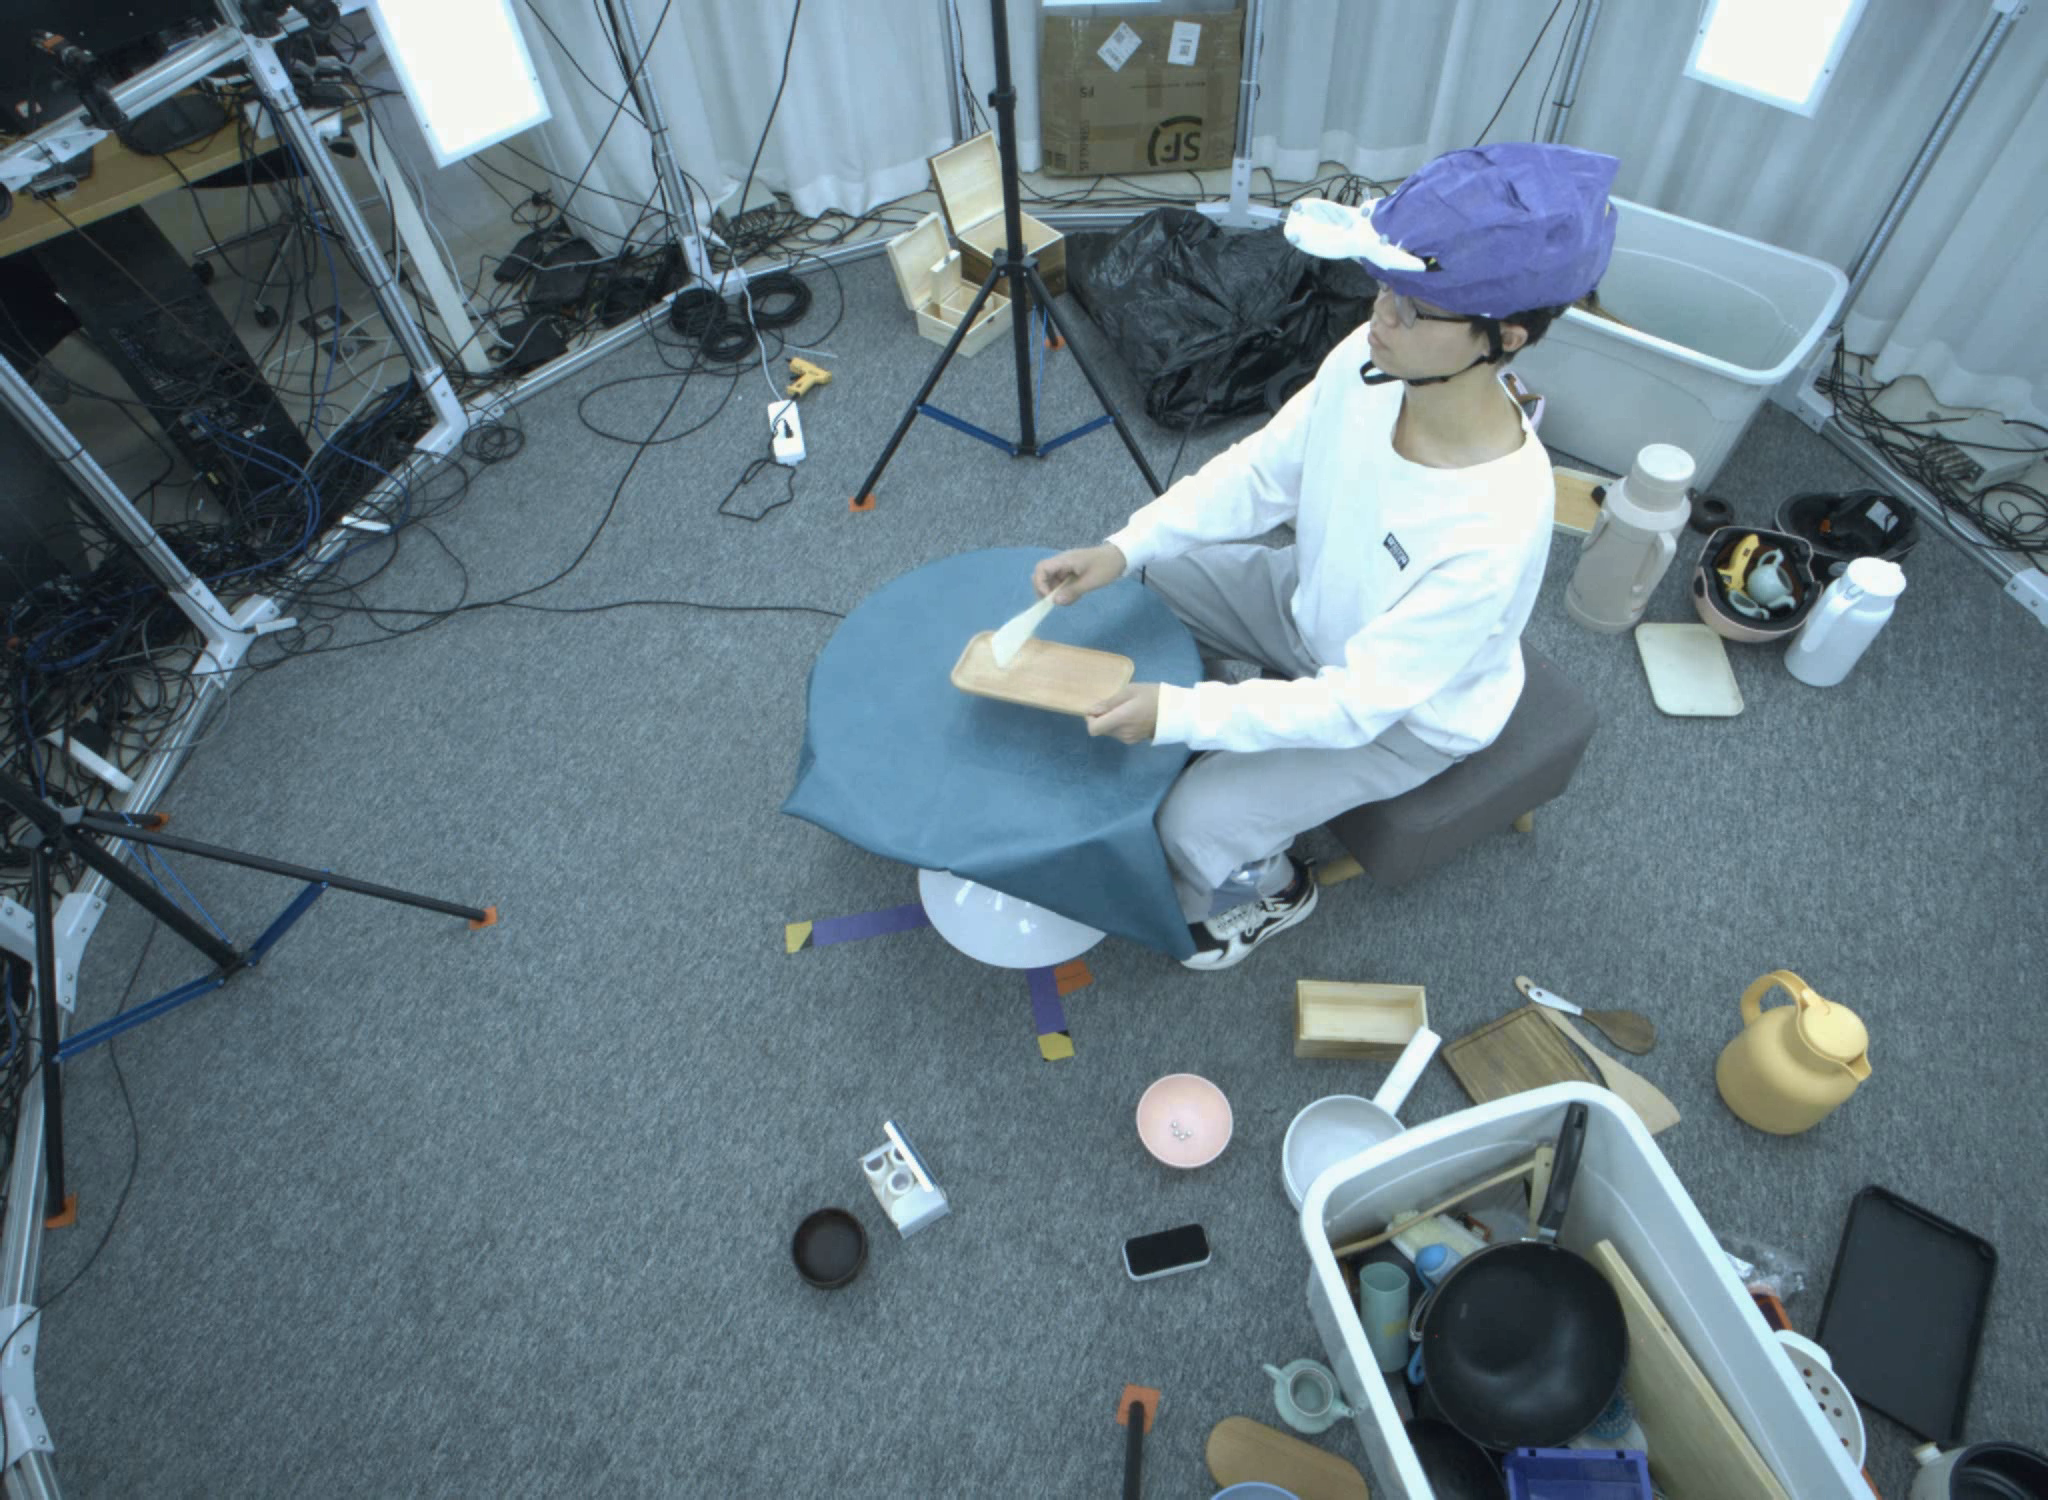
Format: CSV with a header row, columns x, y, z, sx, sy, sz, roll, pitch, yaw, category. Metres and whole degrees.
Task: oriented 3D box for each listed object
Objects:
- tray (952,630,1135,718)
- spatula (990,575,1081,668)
x,y,z,sx,sy,sz,roll,pitch,yaw,category
0.028,-0.110,1.755,0.248,0.023,0.130,13,52,15,tray
0.020,-0.192,1.772,0.005,0.051,0.209,20,49,35,spatula
